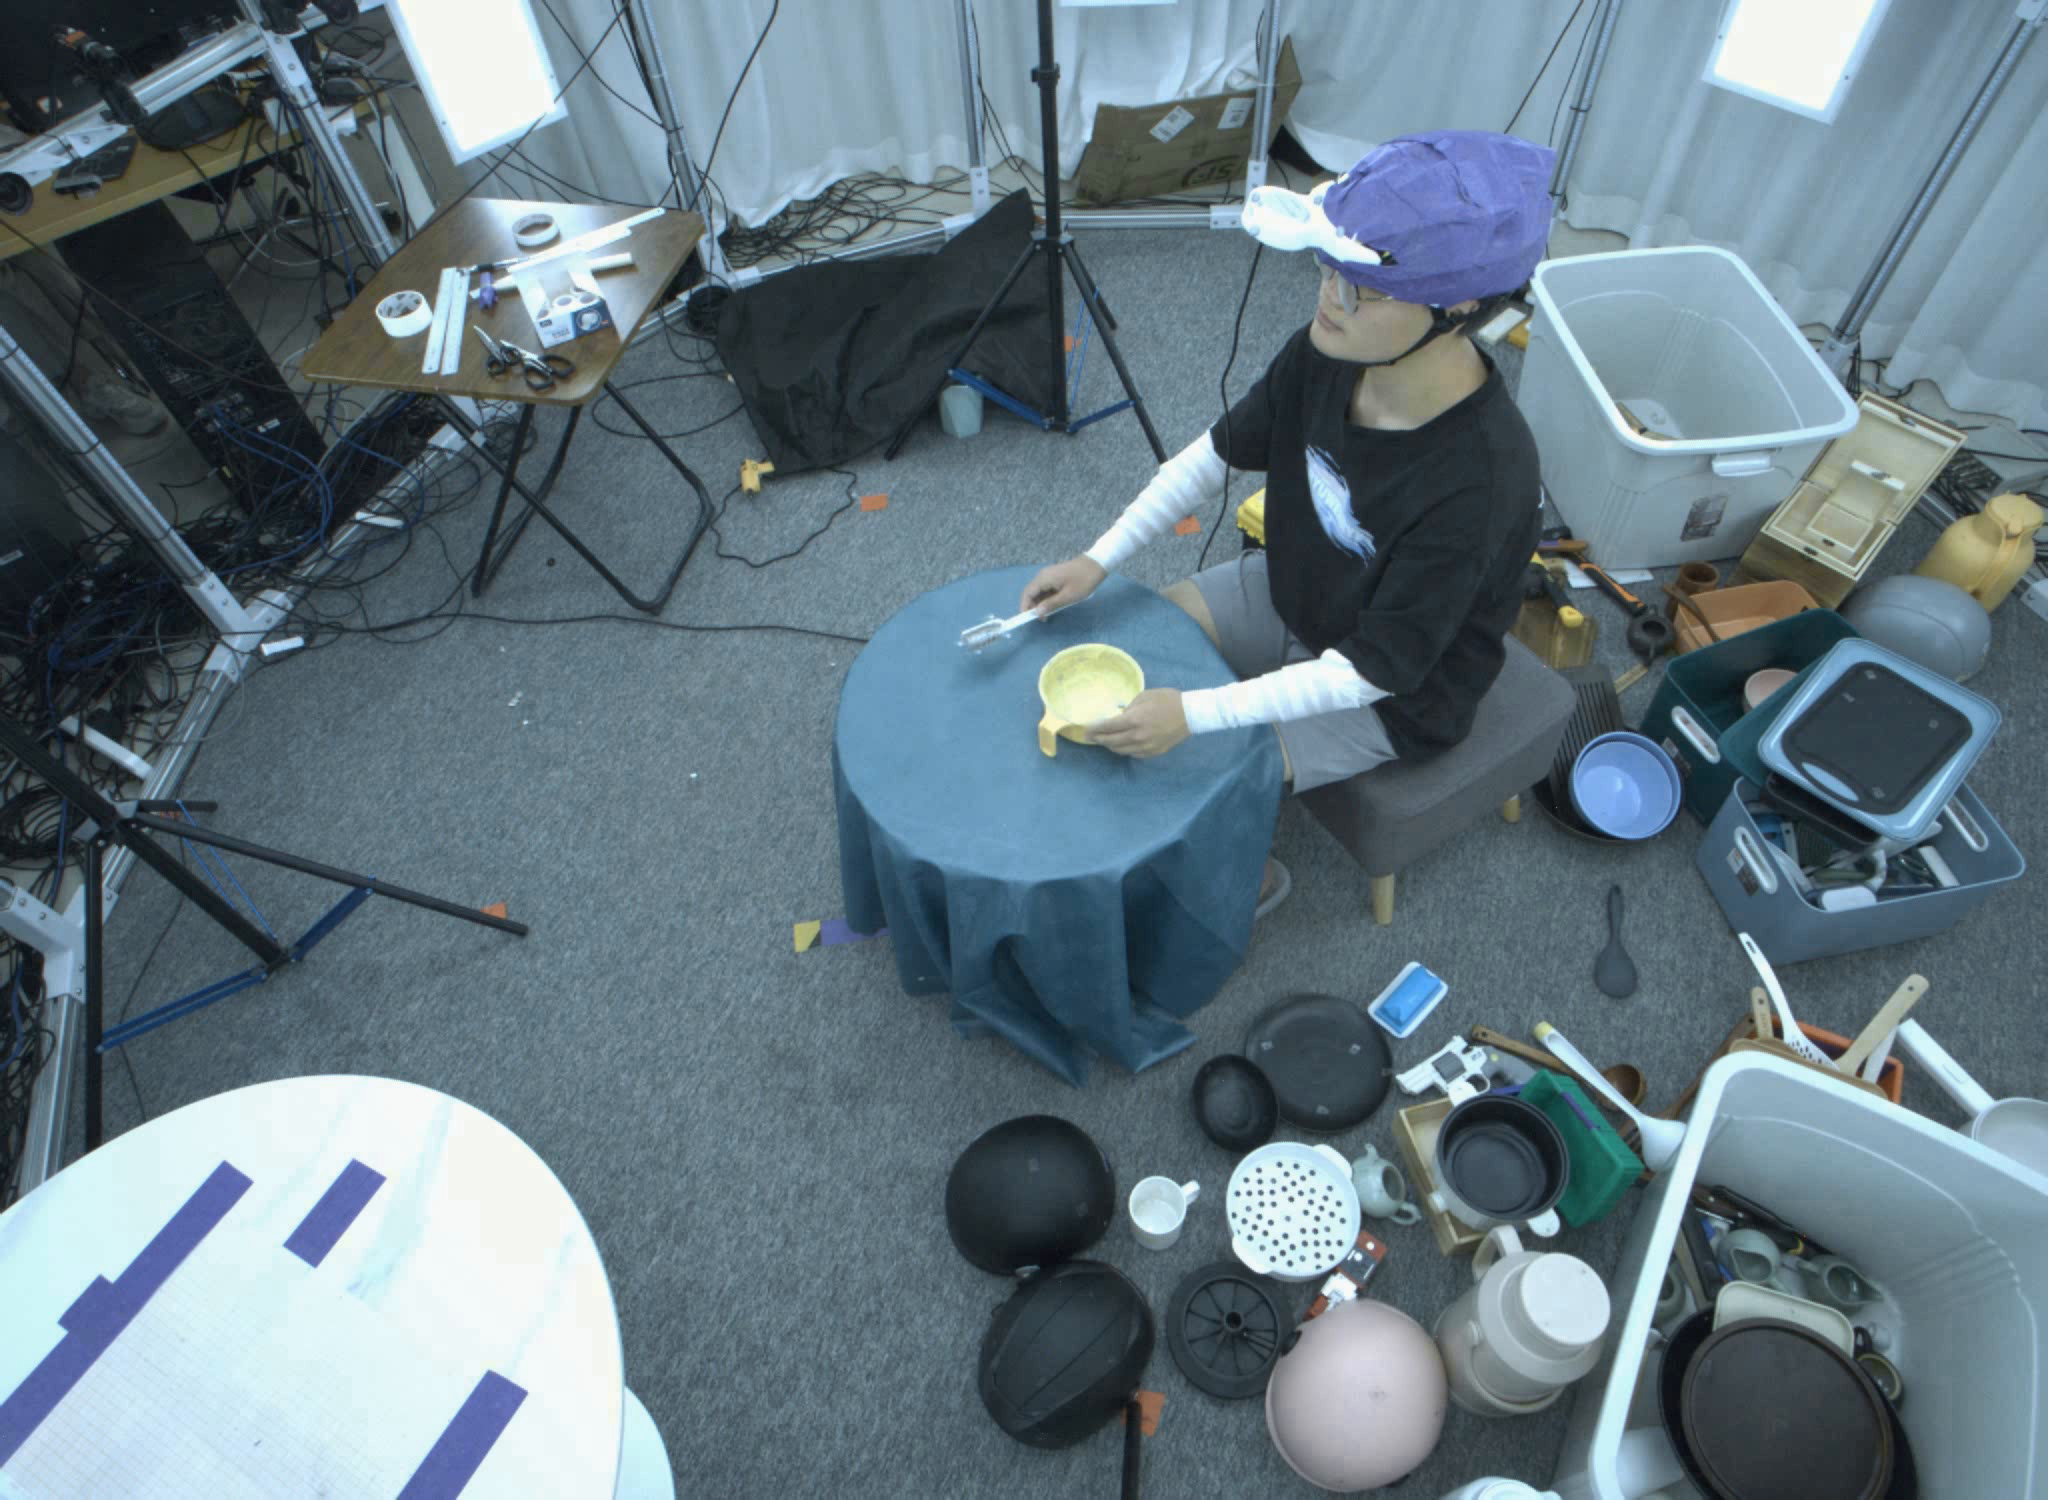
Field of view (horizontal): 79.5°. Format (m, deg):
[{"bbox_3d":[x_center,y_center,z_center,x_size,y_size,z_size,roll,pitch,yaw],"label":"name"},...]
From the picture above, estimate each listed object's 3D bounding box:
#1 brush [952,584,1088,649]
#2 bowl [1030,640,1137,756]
[{"bbox_3d":[-0.001,-0.207,1.874,0.246,0.049,0.034,-23,100,-20],"label":"brush"},{"bbox_3d":[0.077,-0.072,1.785,0.151,0.075,0.180,33,62,19],"label":"bowl"}]
